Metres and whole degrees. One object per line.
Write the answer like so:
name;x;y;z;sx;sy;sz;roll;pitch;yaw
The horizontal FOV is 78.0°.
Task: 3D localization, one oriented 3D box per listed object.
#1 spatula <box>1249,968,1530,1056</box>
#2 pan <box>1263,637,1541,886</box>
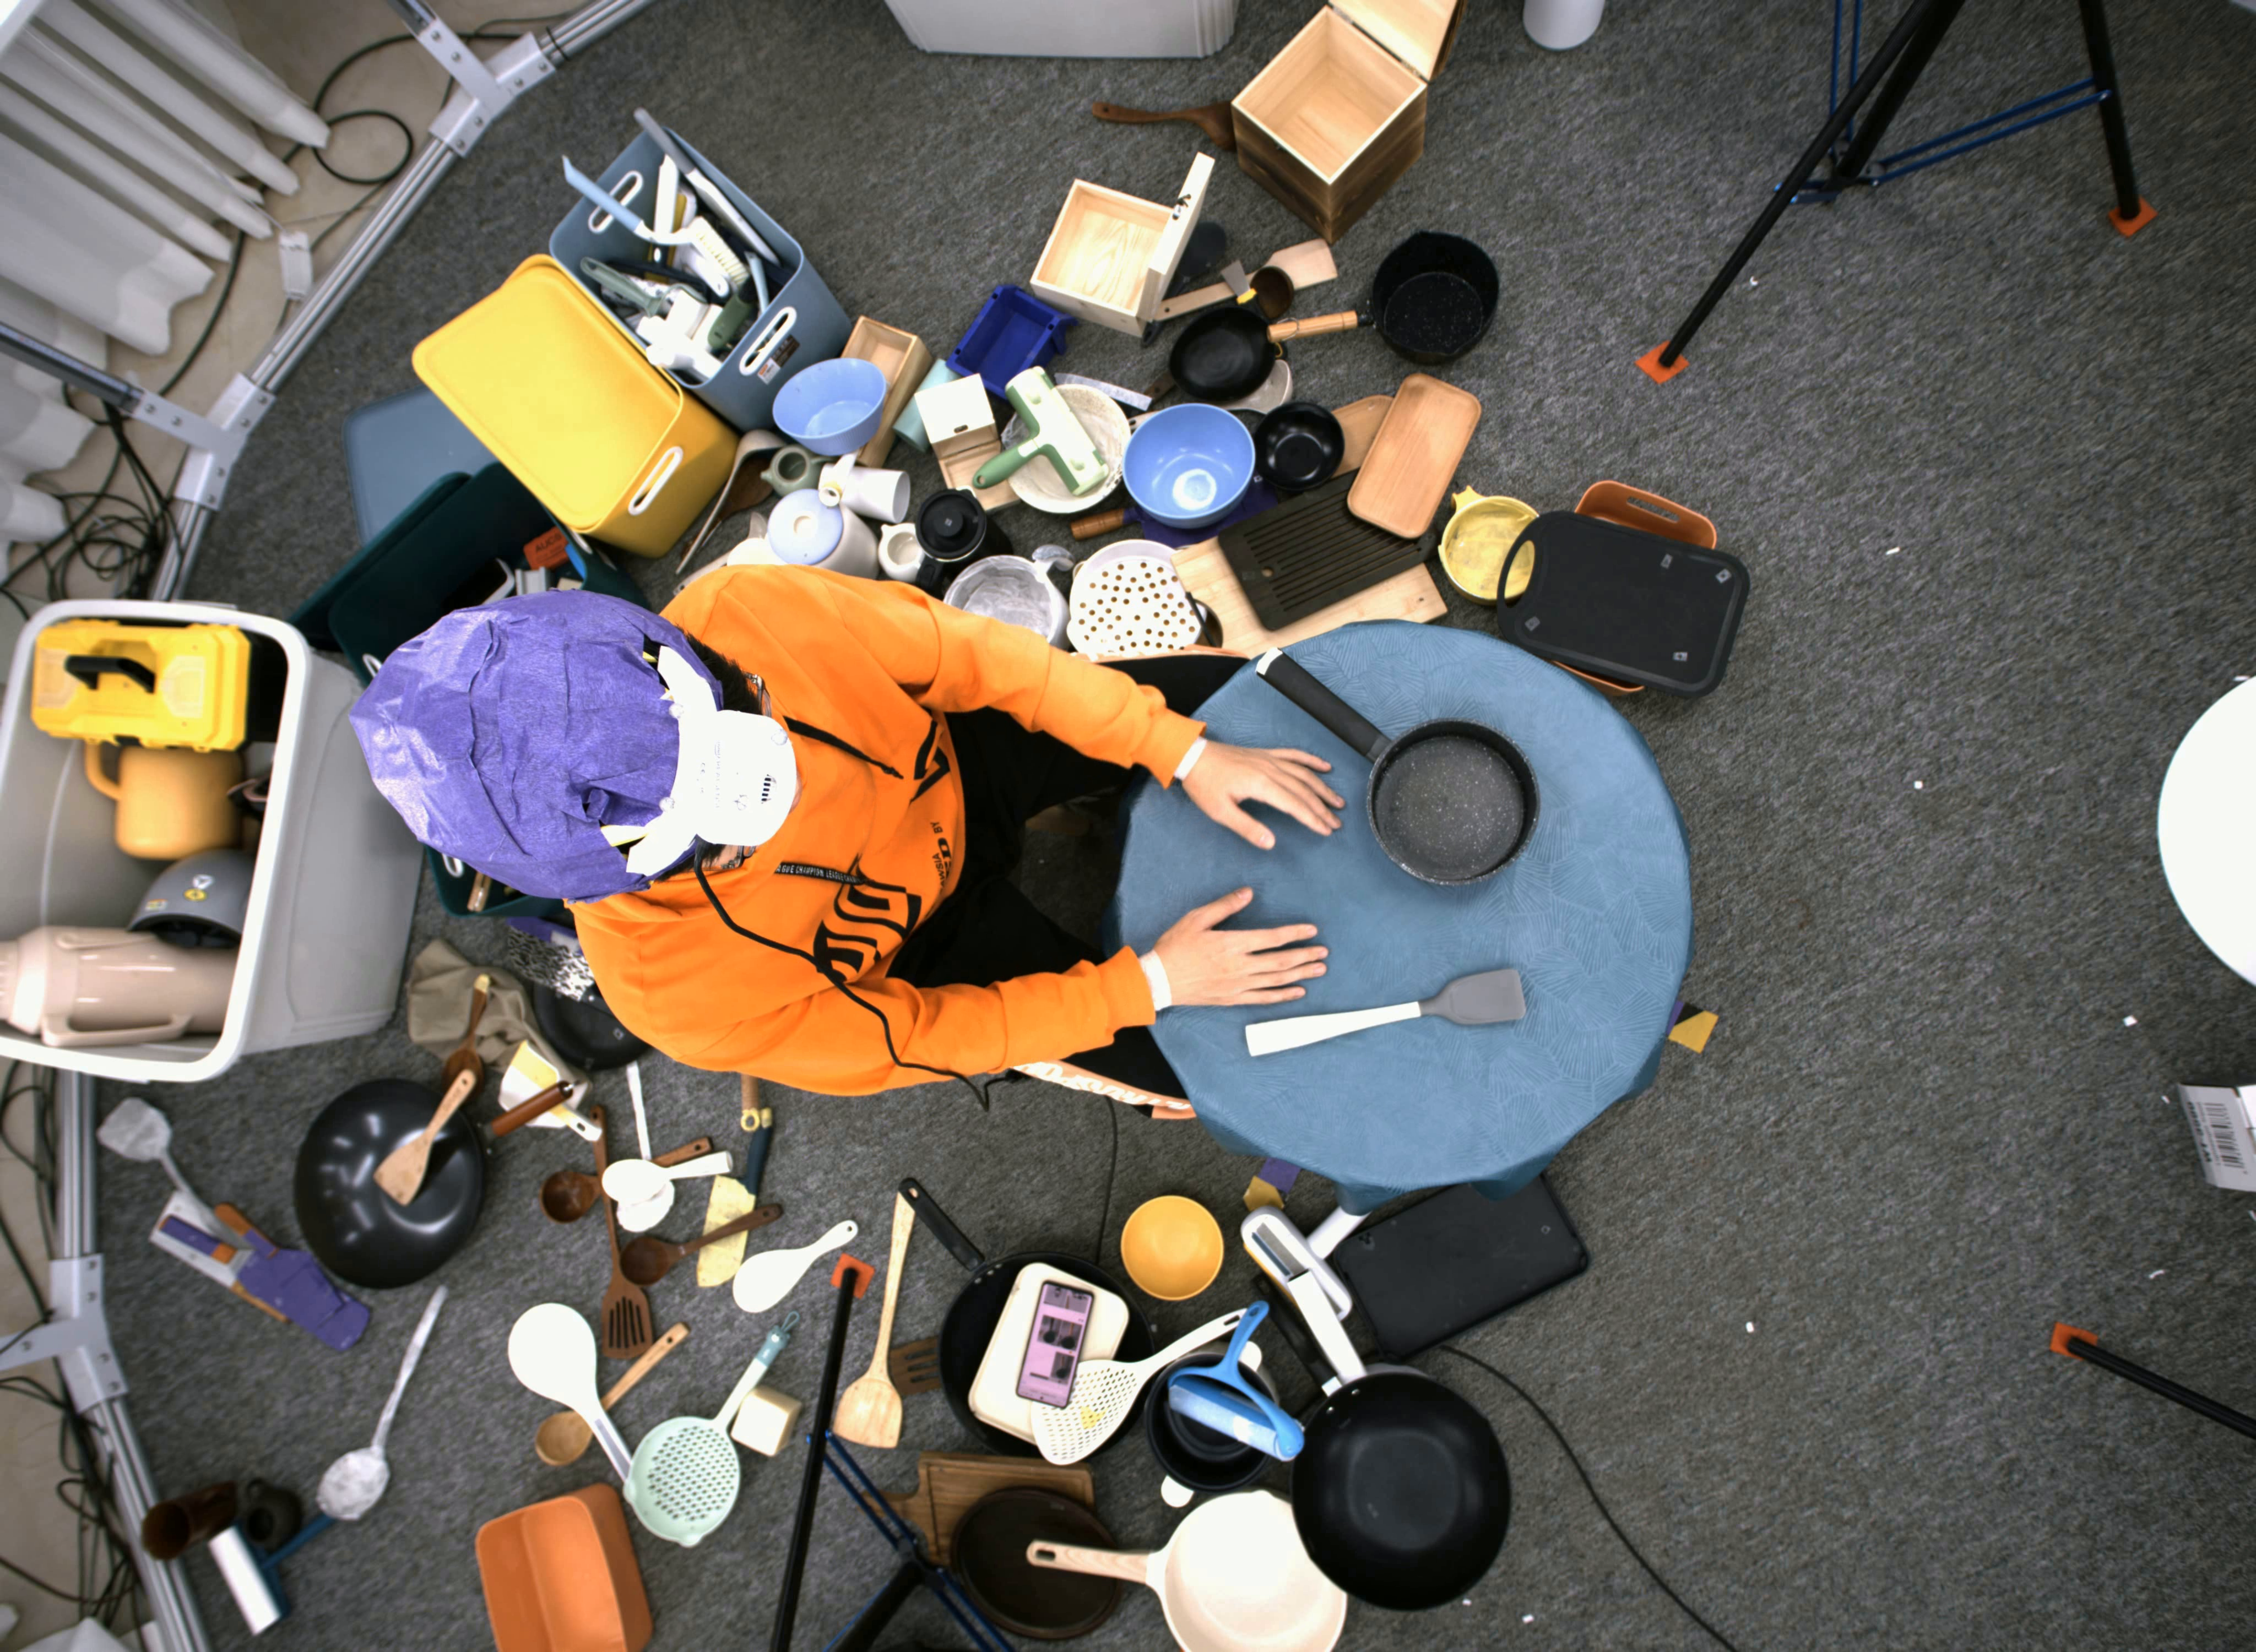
spatula;0.269;0.196;1.437;0.289;0.032;0.058;-12;80;10
pan;0.272;-0.075;1.425;0.327;0.086;0.172;41;93;8
